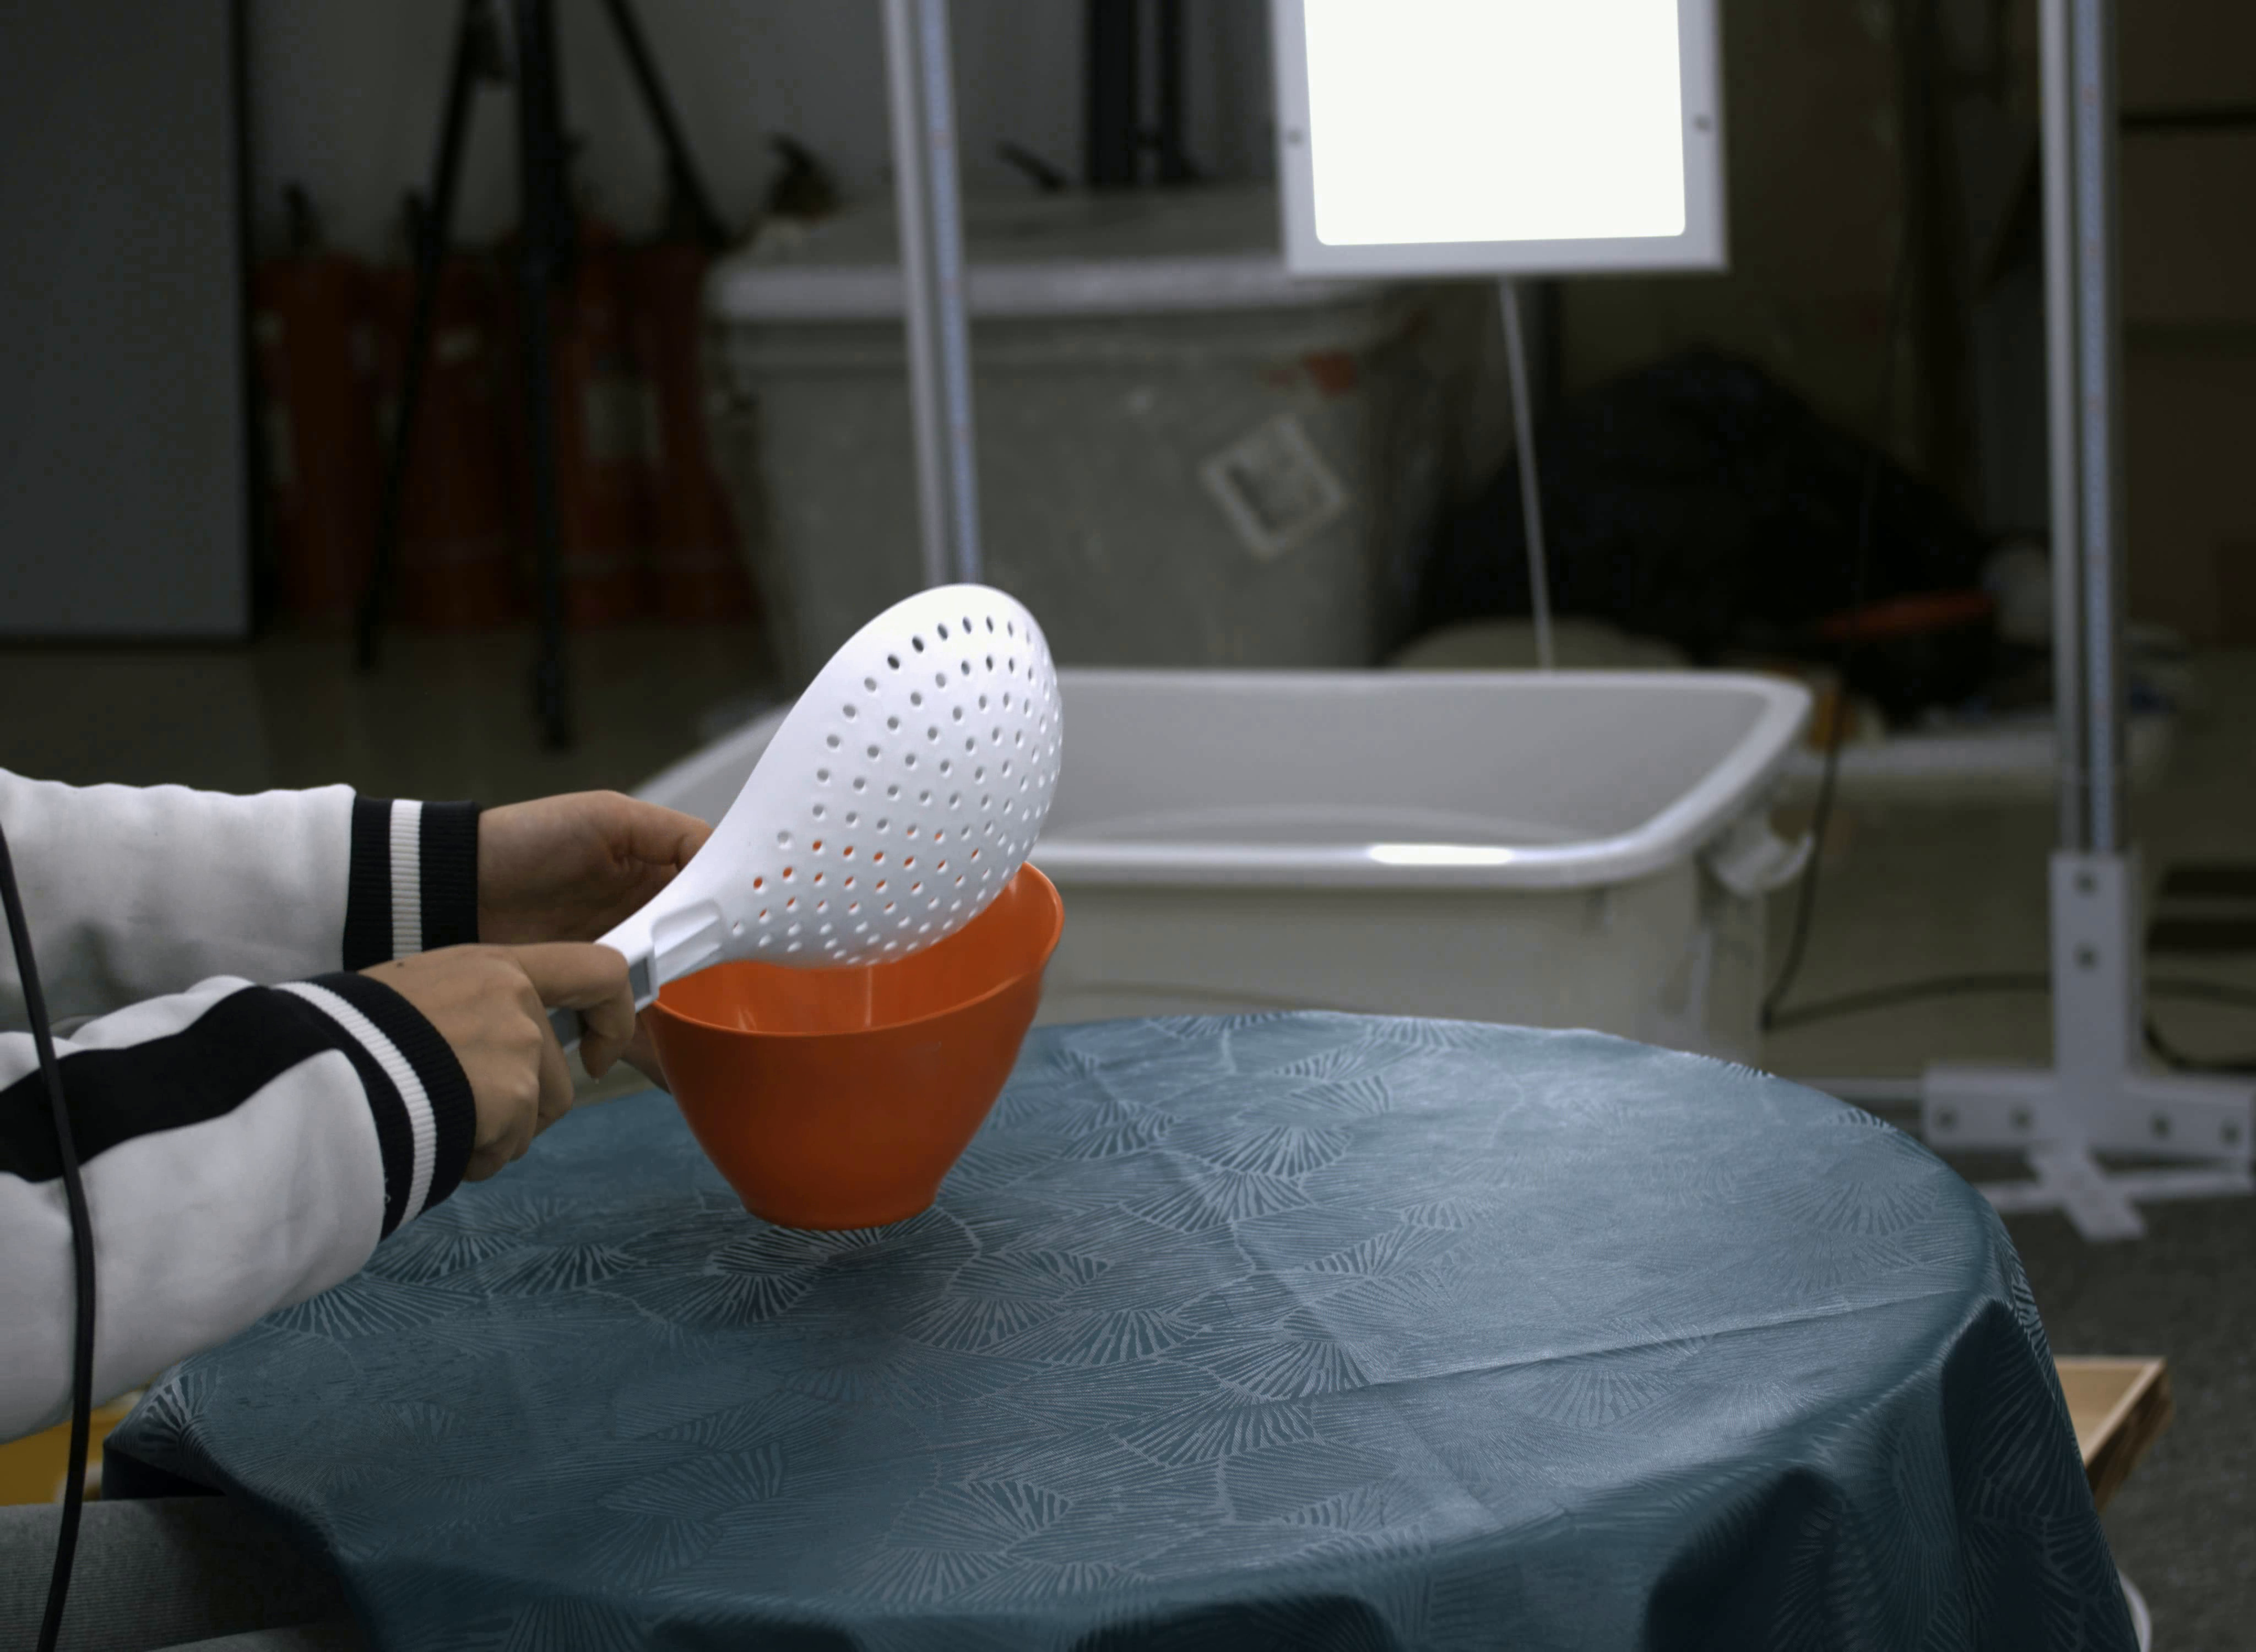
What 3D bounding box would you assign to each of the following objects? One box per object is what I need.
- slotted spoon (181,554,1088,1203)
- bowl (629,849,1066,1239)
[{"bbox_3d":[-0.144,0.022,1.707,0.343,0.137,0.046,-26,58,-23],"label":"slotted spoon"},{"bbox_3d":[-0.094,0.076,1.861,0.147,0.105,0.148,-1,18,-1],"label":"bowl"}]
